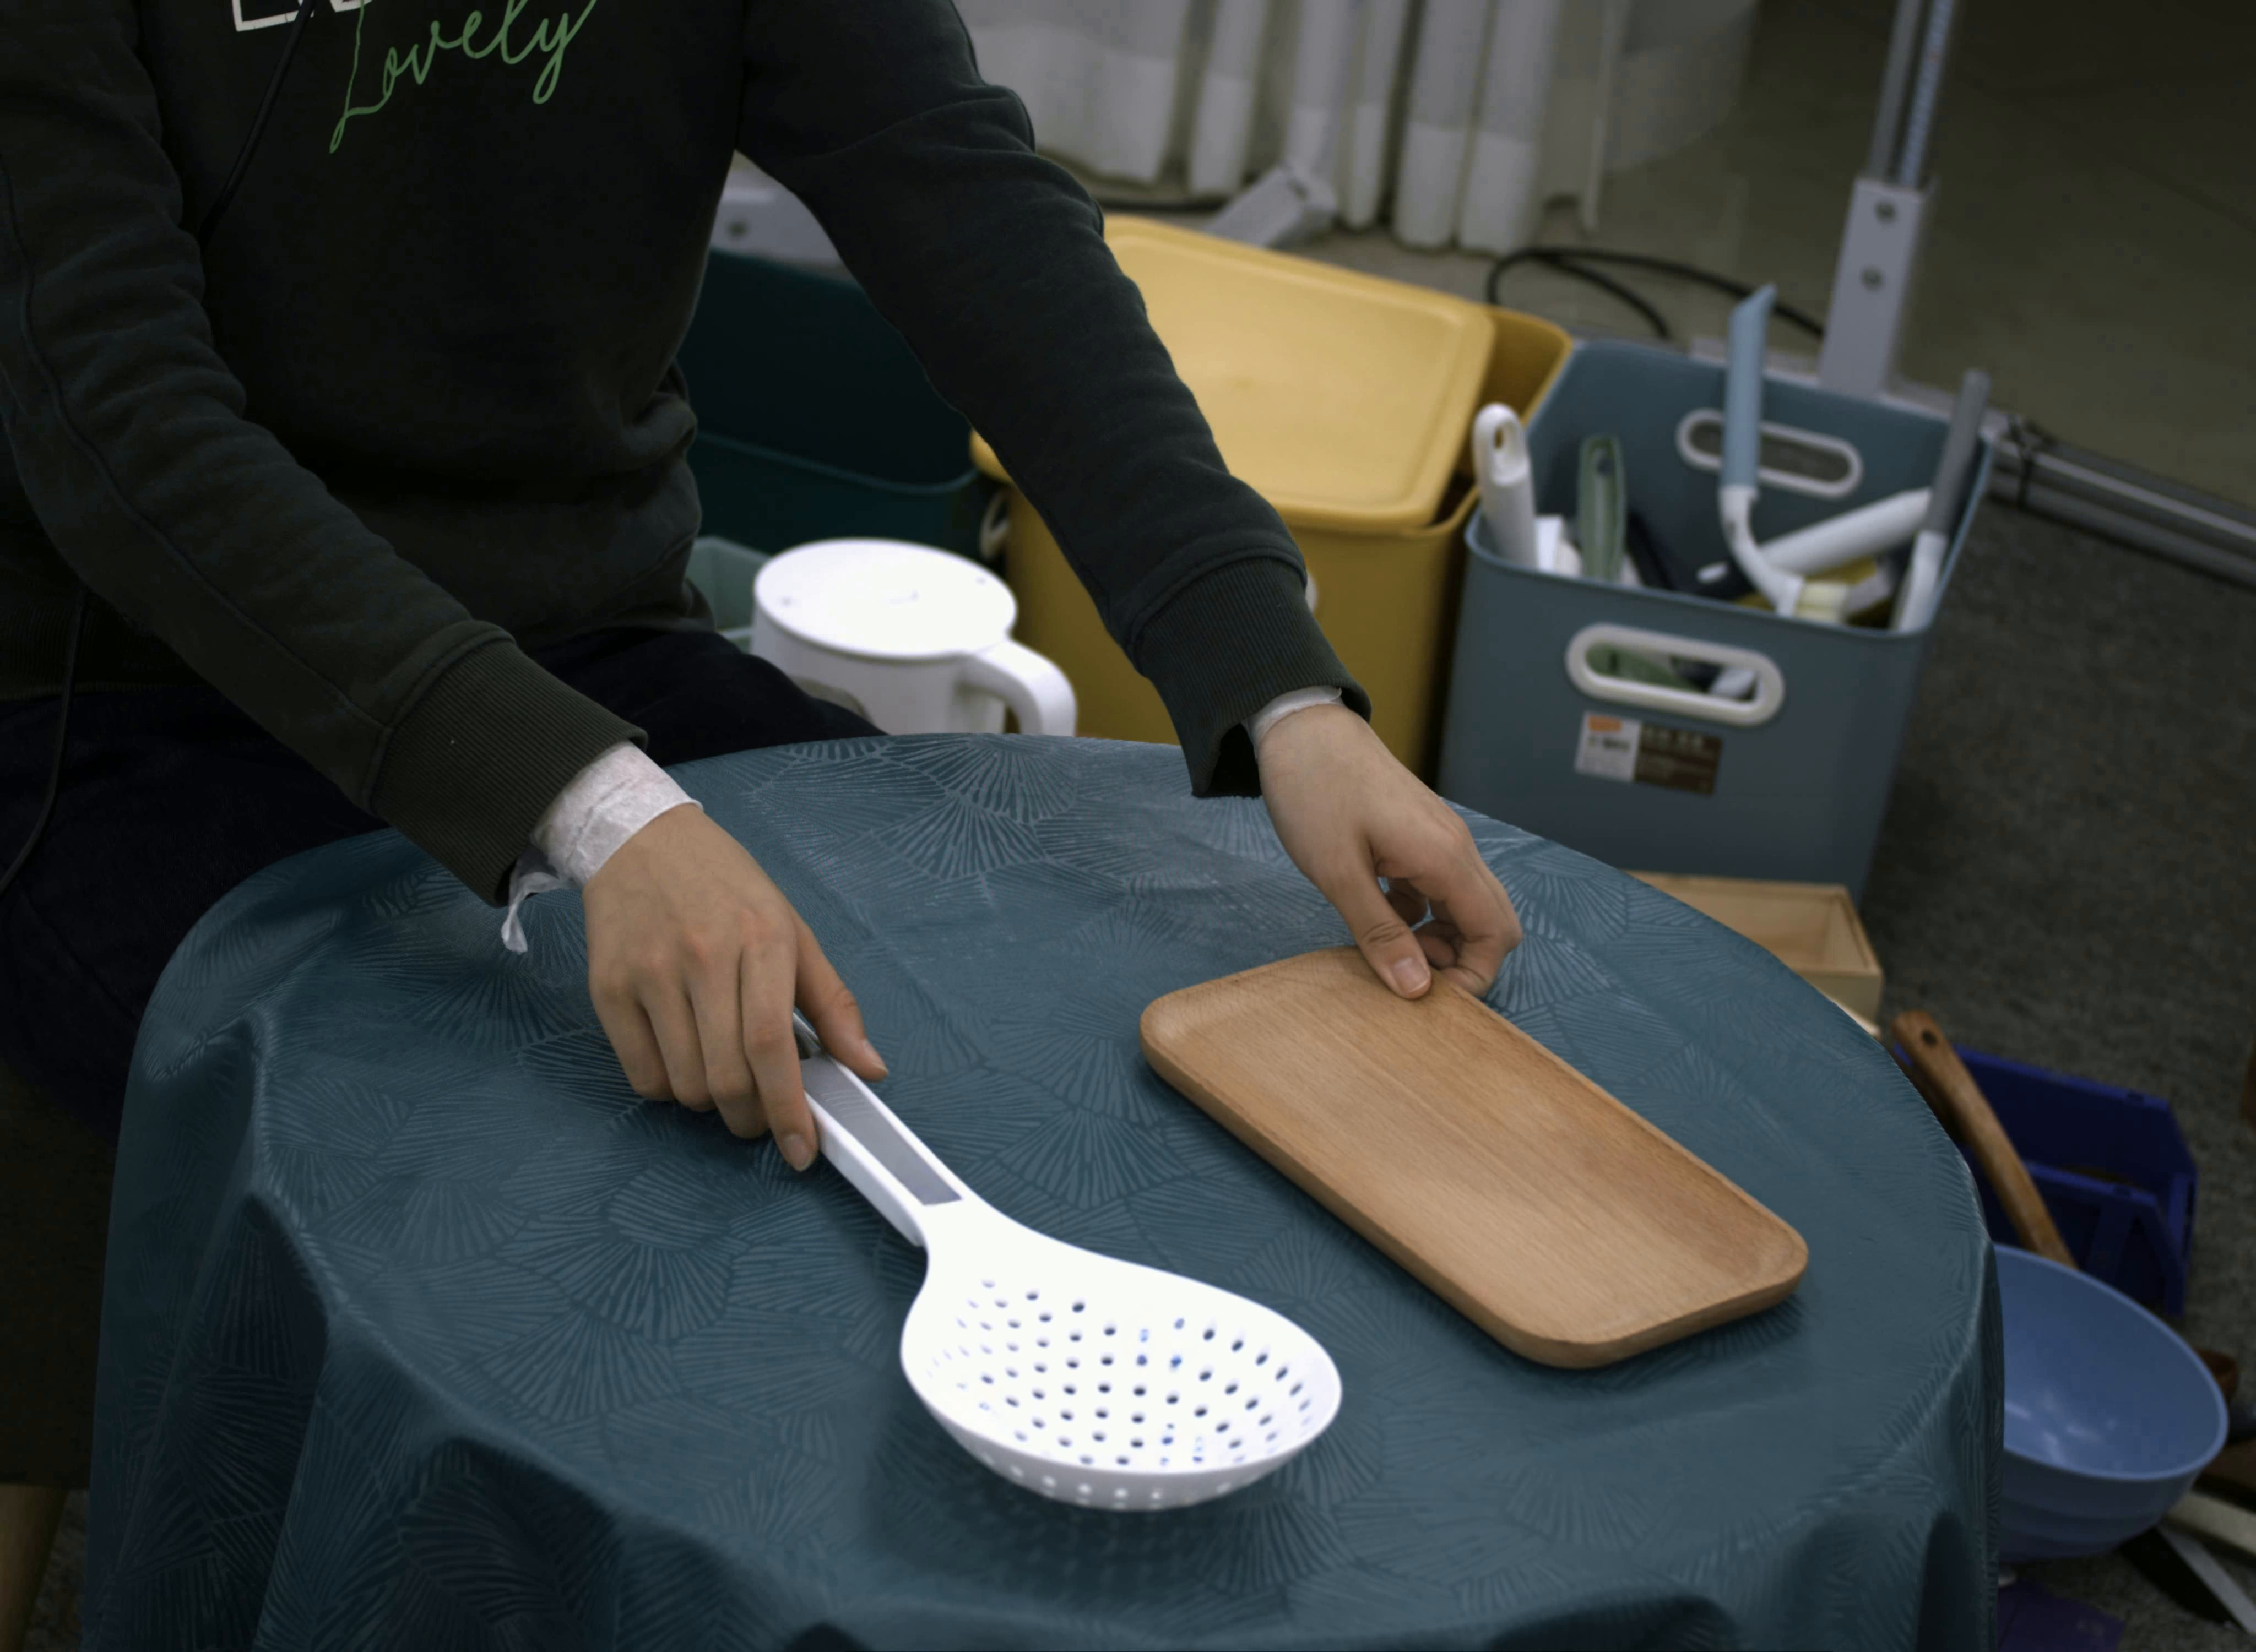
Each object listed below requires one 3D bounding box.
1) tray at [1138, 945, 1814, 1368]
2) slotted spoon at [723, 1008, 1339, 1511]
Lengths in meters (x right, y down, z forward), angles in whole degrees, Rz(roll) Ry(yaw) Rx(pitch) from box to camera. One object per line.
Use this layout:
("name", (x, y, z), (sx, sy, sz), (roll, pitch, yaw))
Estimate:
("tray", (0.116, 0.111, 1.831), (0.130, 0.023, 0.253), (-12, 31, -34))
("slotted spoon", (-0.053, 0.133, 1.719), (0.135, 0.045, 0.353), (-4, 27, -28))
